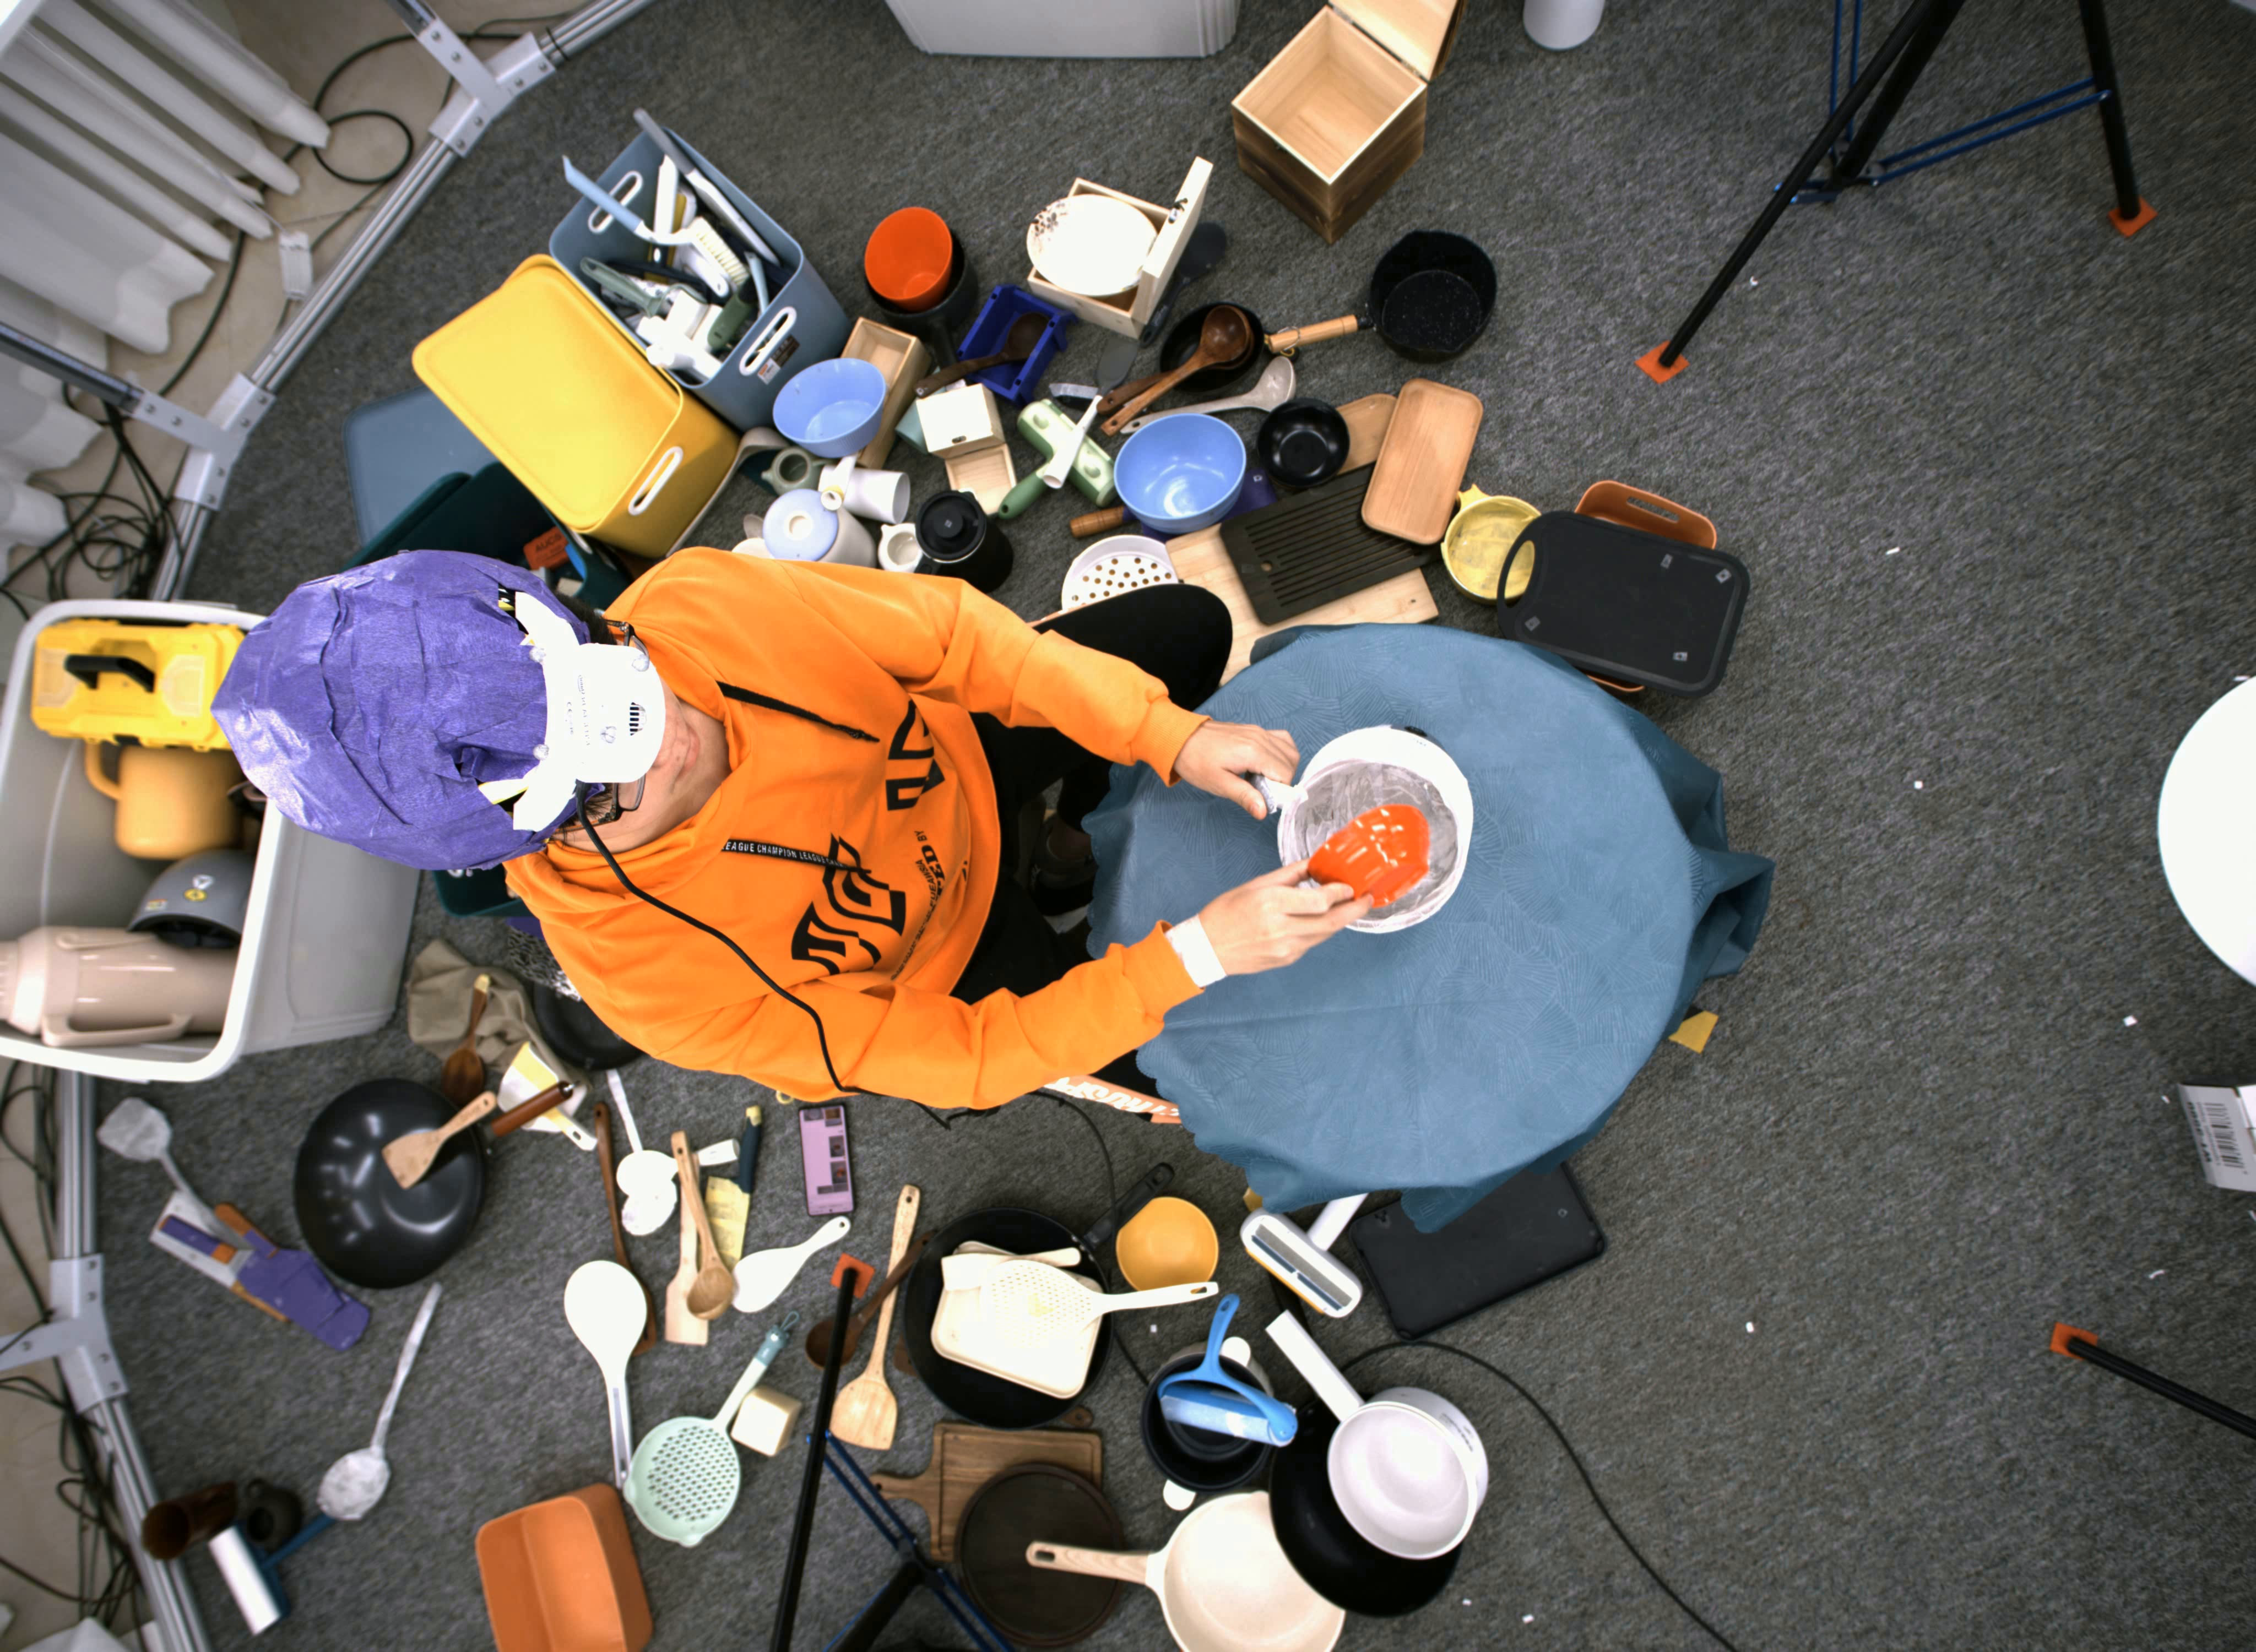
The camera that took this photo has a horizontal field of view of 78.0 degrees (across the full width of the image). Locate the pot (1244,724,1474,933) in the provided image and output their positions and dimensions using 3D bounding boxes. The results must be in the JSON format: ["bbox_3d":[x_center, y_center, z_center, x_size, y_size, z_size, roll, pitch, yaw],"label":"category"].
[{"bbox_3d":[0.219,-0.012,1.347,0.234,0.134,0.182,20,114,10],"label":"pot"}]

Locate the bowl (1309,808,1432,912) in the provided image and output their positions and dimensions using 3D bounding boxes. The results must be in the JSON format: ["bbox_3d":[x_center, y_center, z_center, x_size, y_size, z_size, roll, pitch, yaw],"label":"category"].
[{"bbox_3d":[0.225,0.036,1.232,0.119,0.120,0.050,-29,64,6],"label":"bowl"}]
